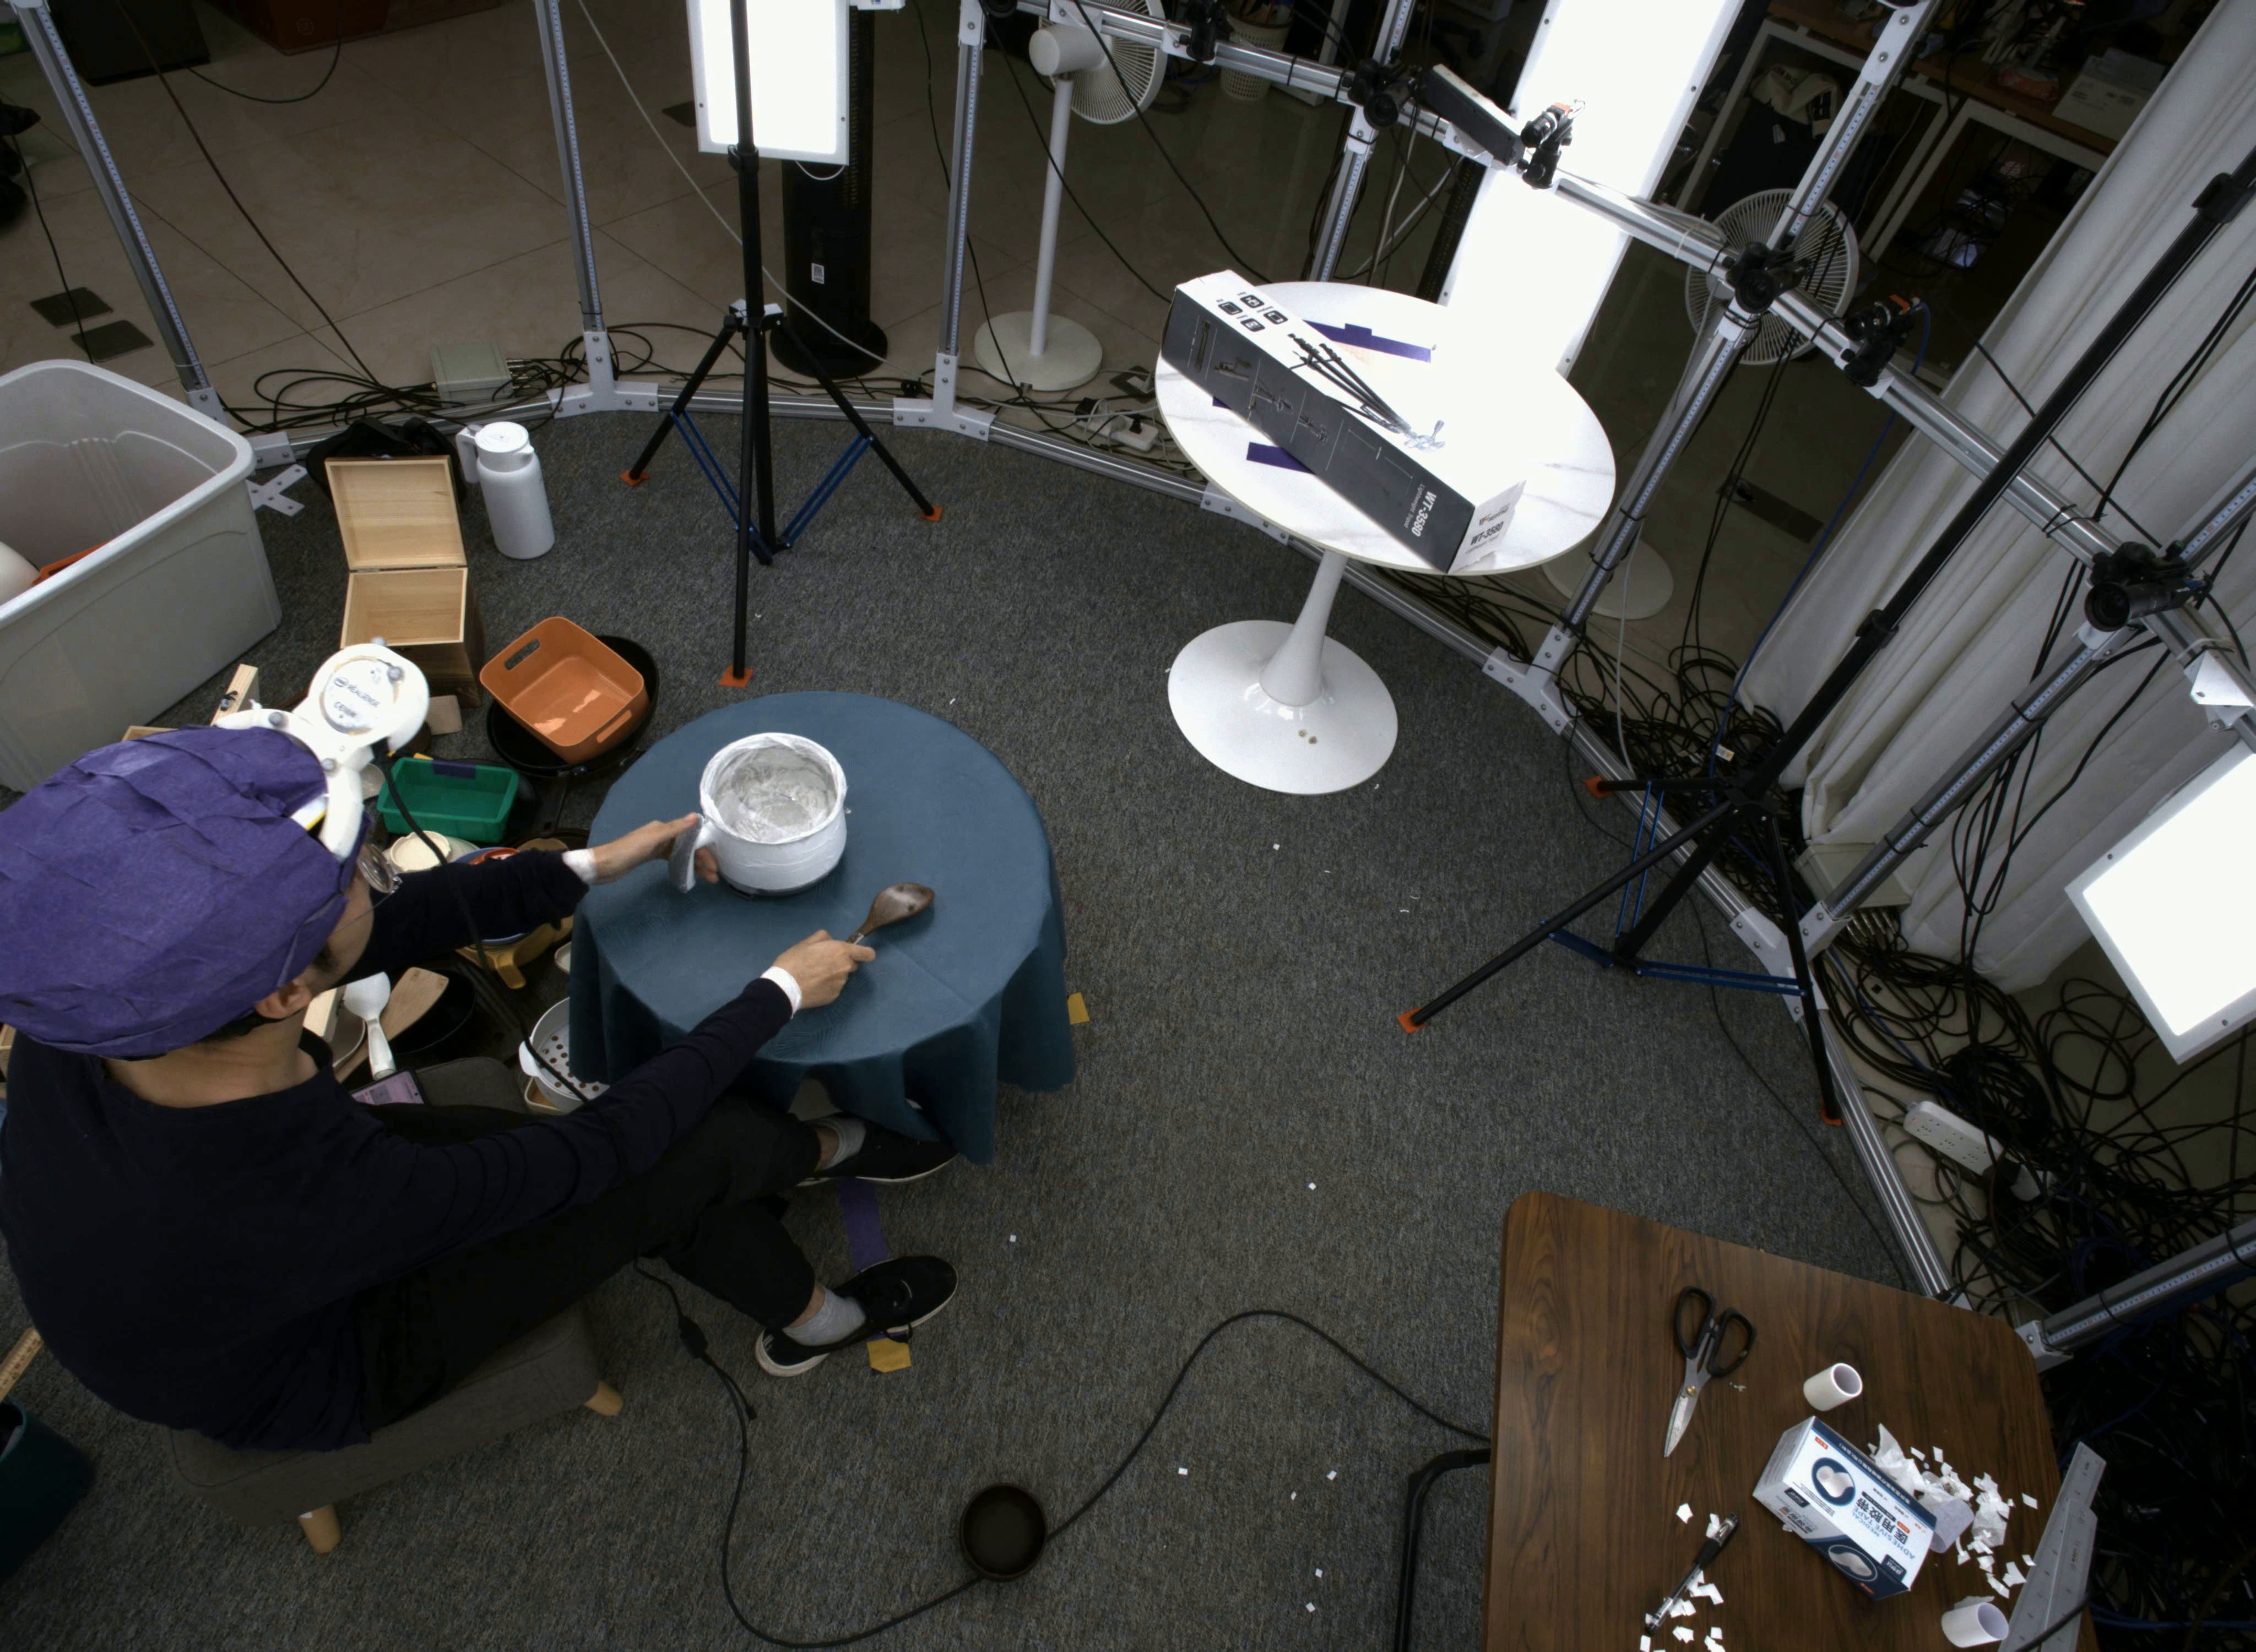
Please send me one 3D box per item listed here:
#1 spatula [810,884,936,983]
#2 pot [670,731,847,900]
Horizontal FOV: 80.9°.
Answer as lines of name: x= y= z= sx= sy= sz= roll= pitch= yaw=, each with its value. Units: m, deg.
spatula: x=-0.325 y=0.129 z=1.633 sx=0.069 sy=0.009 sz=0.215 roll=12 pitch=39 yaw=32
pot: x=-0.470 y=-0.001 z=1.634 sx=0.235 sy=0.140 sz=0.174 roll=-29 pitch=61 yaw=-31
